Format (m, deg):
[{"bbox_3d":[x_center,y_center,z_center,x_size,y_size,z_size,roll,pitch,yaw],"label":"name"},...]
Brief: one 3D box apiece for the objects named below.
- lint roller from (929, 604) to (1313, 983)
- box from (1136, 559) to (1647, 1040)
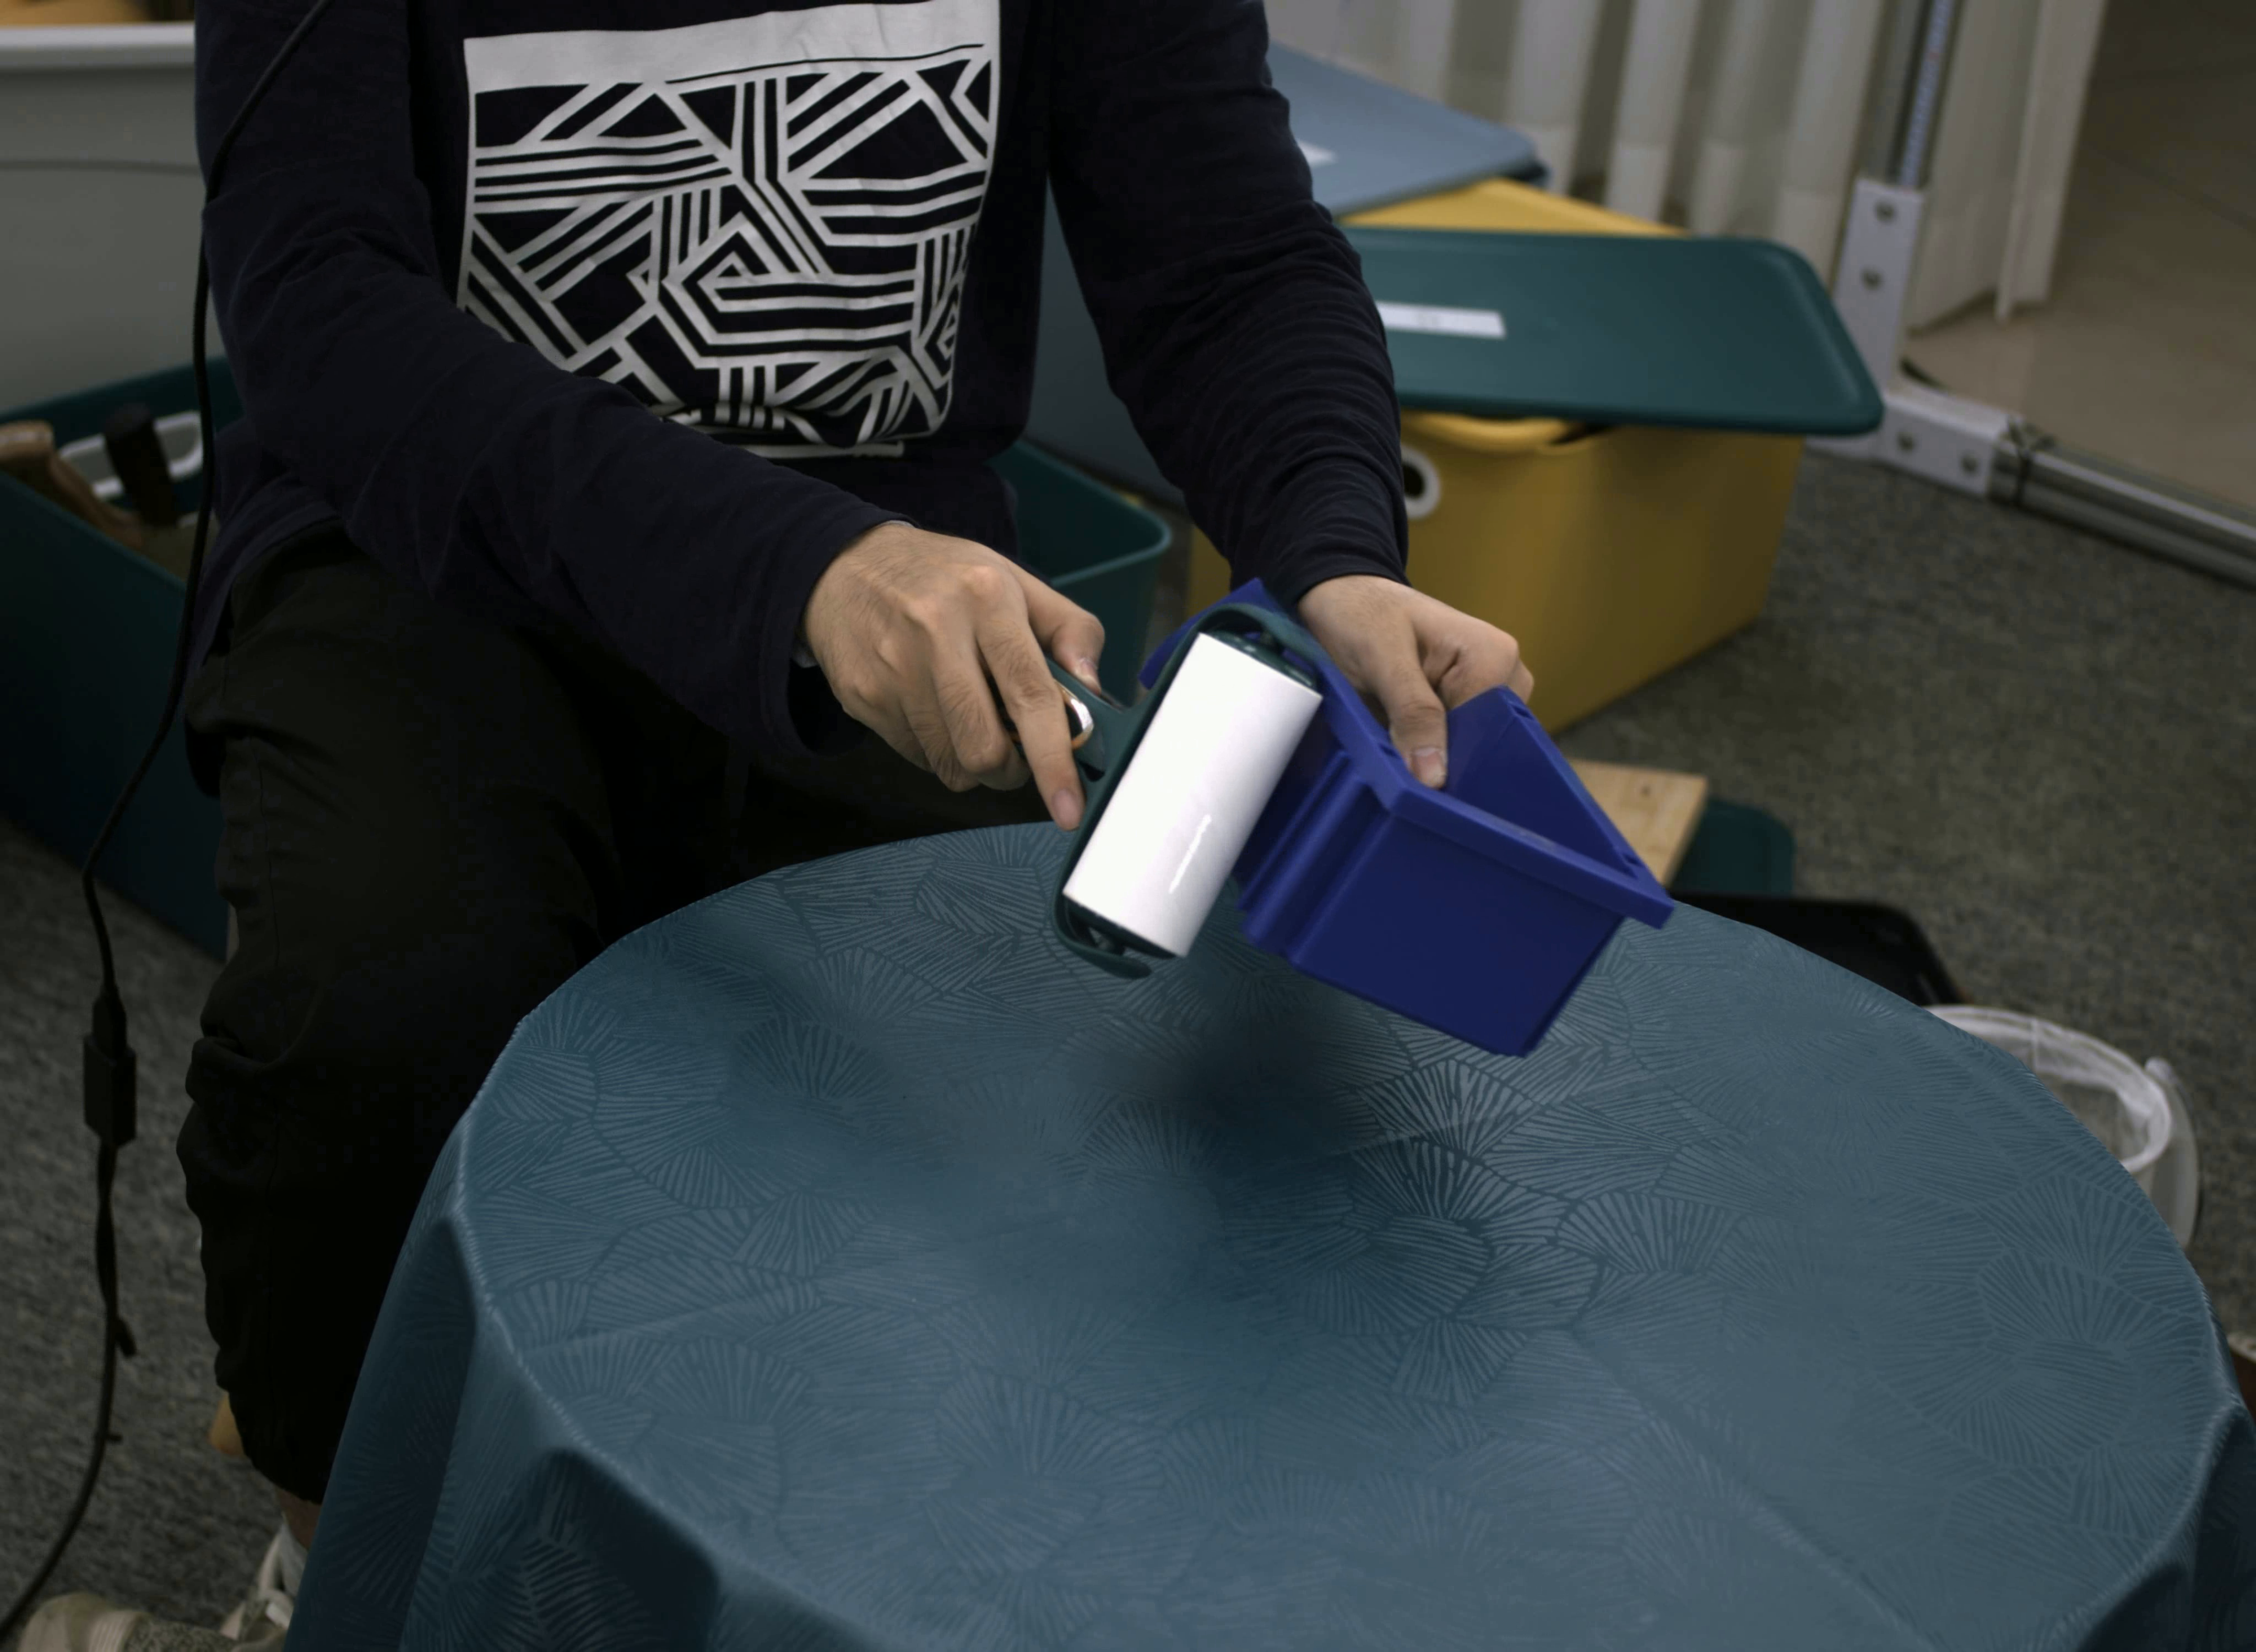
[{"bbox_3d":[-0.023,-0.033,1.825,0.181,0.134,0.048,28,1,44],"label":"lint roller"},{"bbox_3d":[0.082,-0.013,1.842,0.123,0.082,0.181,23,23,-27],"label":"box"}]
